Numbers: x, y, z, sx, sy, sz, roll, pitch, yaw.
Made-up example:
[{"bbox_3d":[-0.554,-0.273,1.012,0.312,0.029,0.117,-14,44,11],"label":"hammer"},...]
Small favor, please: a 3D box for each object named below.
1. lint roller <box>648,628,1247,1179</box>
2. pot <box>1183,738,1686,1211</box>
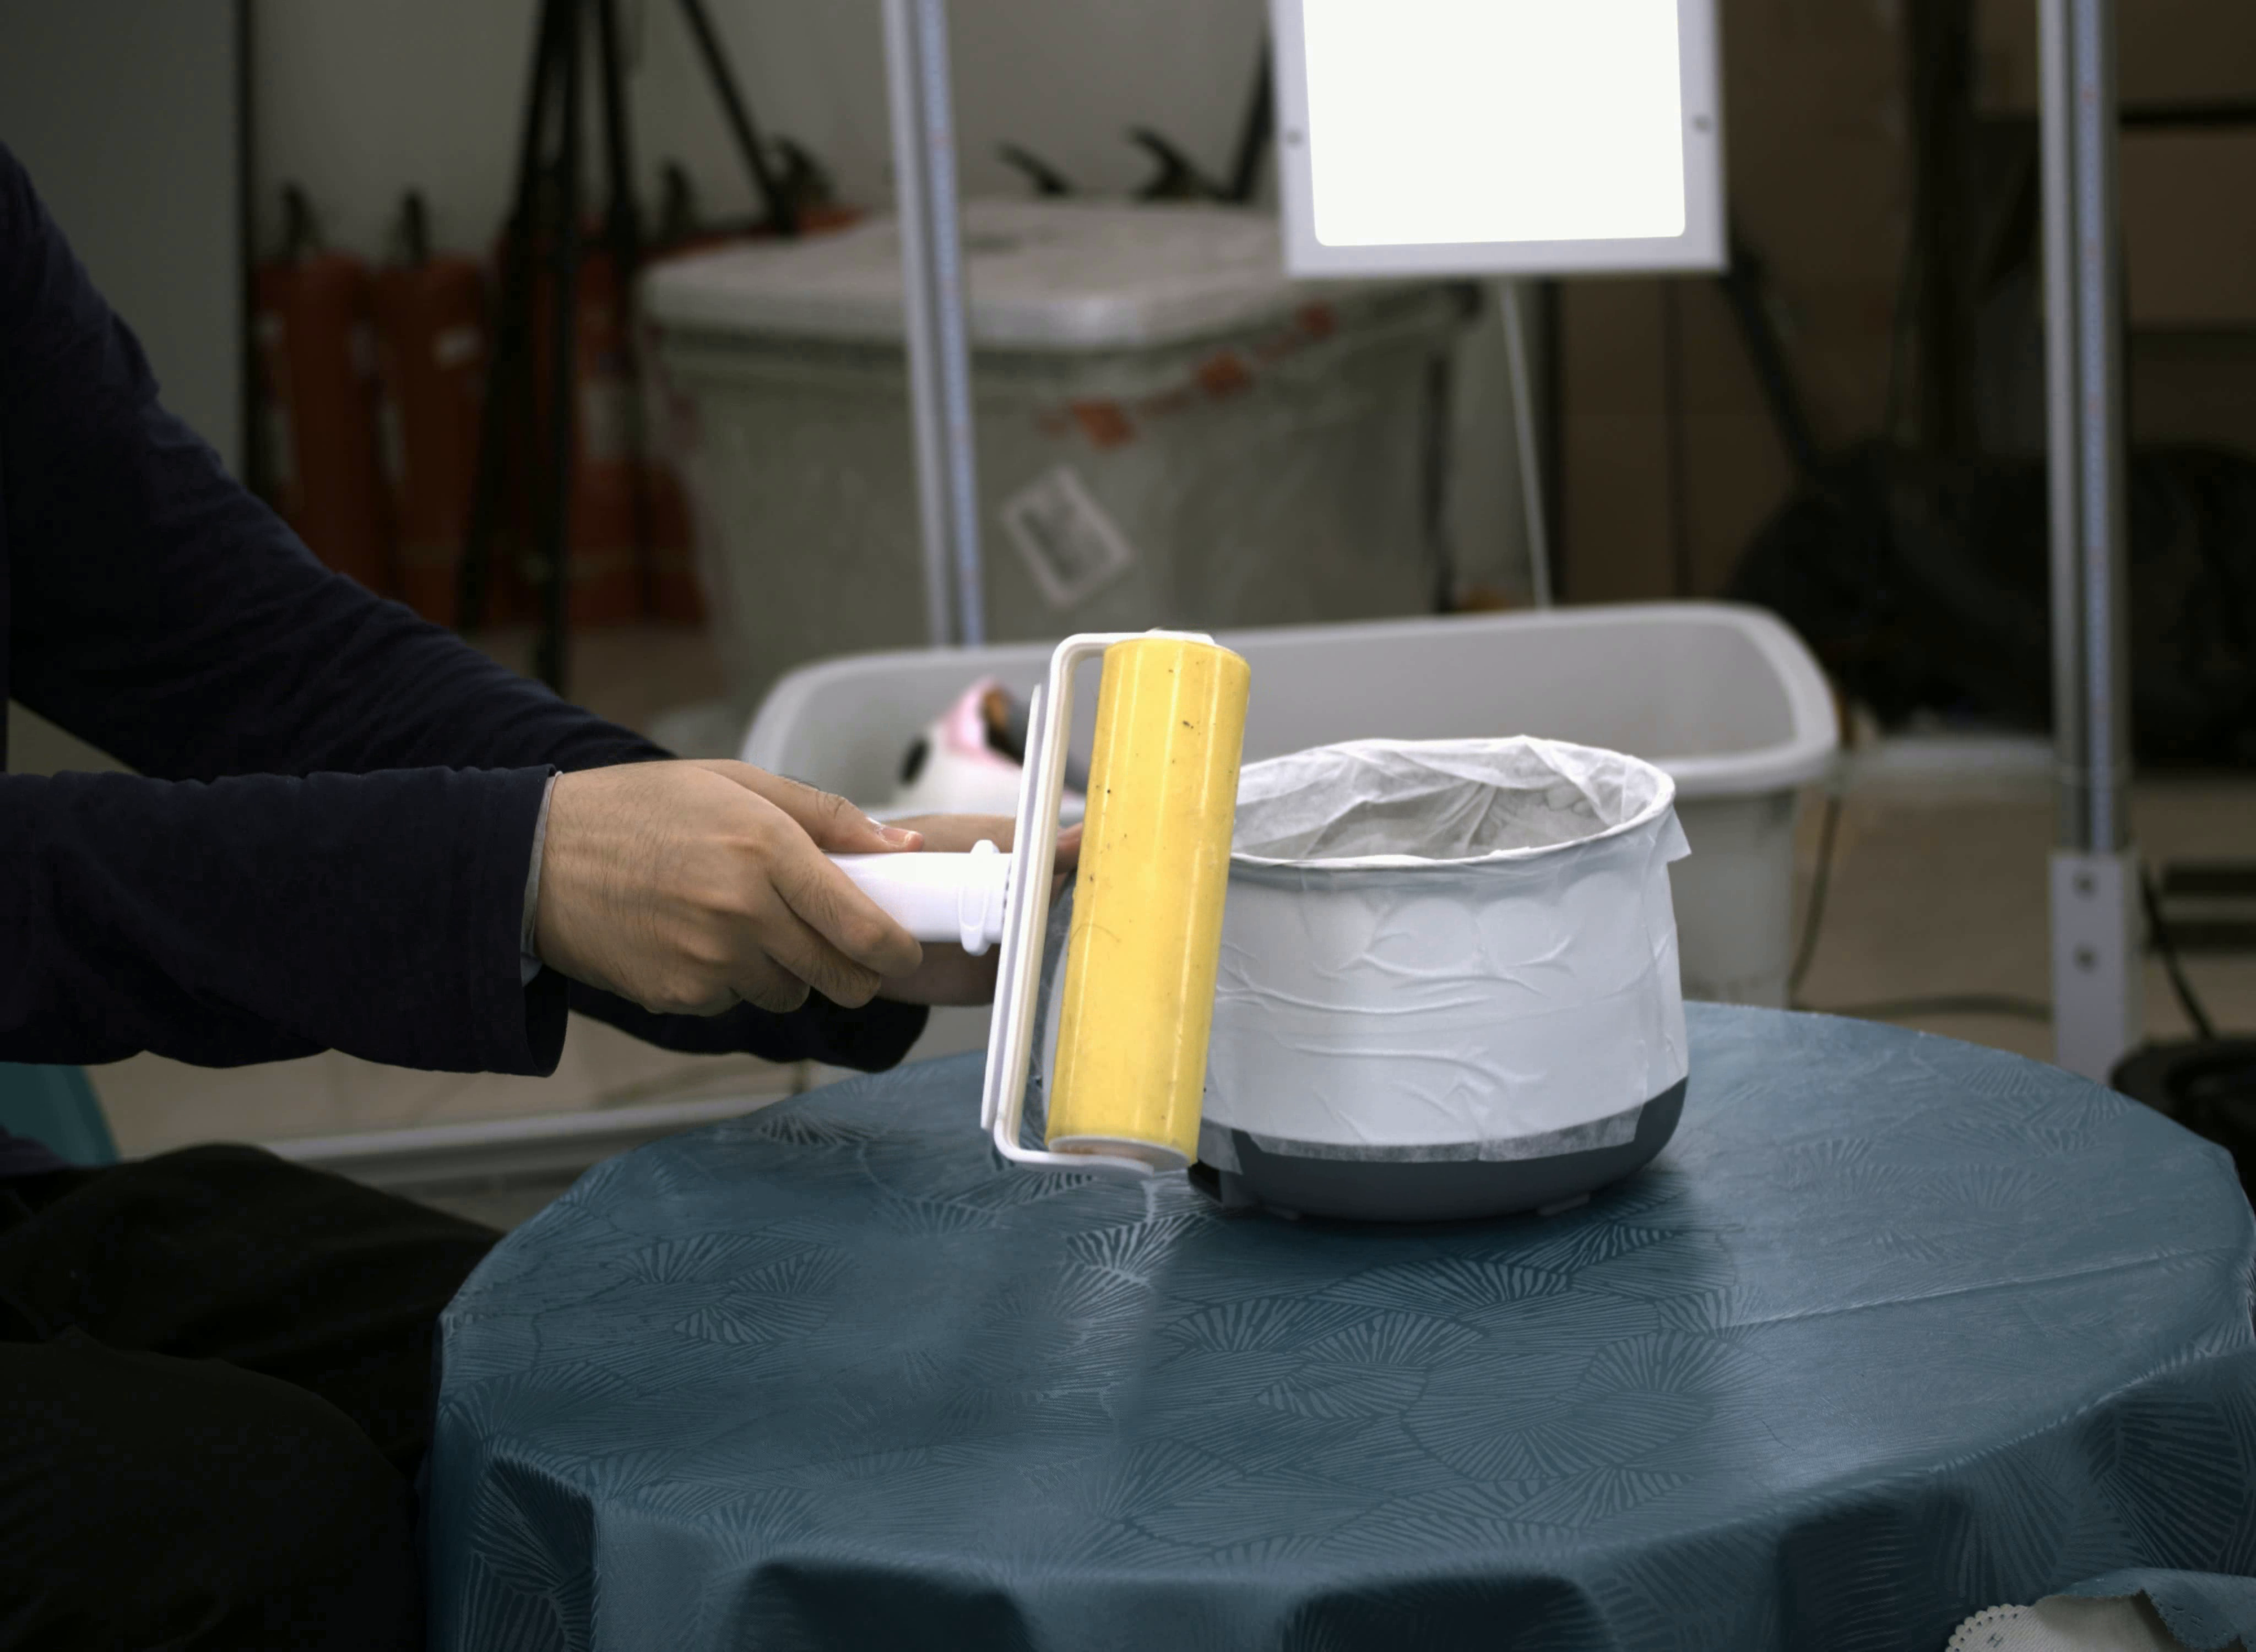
[{"bbox_3d":[-0.063,0.022,1.727,0.193,0.174,0.051,2,-17,14],"label":"lint roller"},{"bbox_3d":[0.075,0.050,1.885,0.235,0.137,0.177,-1,12,10],"label":"pot"}]
